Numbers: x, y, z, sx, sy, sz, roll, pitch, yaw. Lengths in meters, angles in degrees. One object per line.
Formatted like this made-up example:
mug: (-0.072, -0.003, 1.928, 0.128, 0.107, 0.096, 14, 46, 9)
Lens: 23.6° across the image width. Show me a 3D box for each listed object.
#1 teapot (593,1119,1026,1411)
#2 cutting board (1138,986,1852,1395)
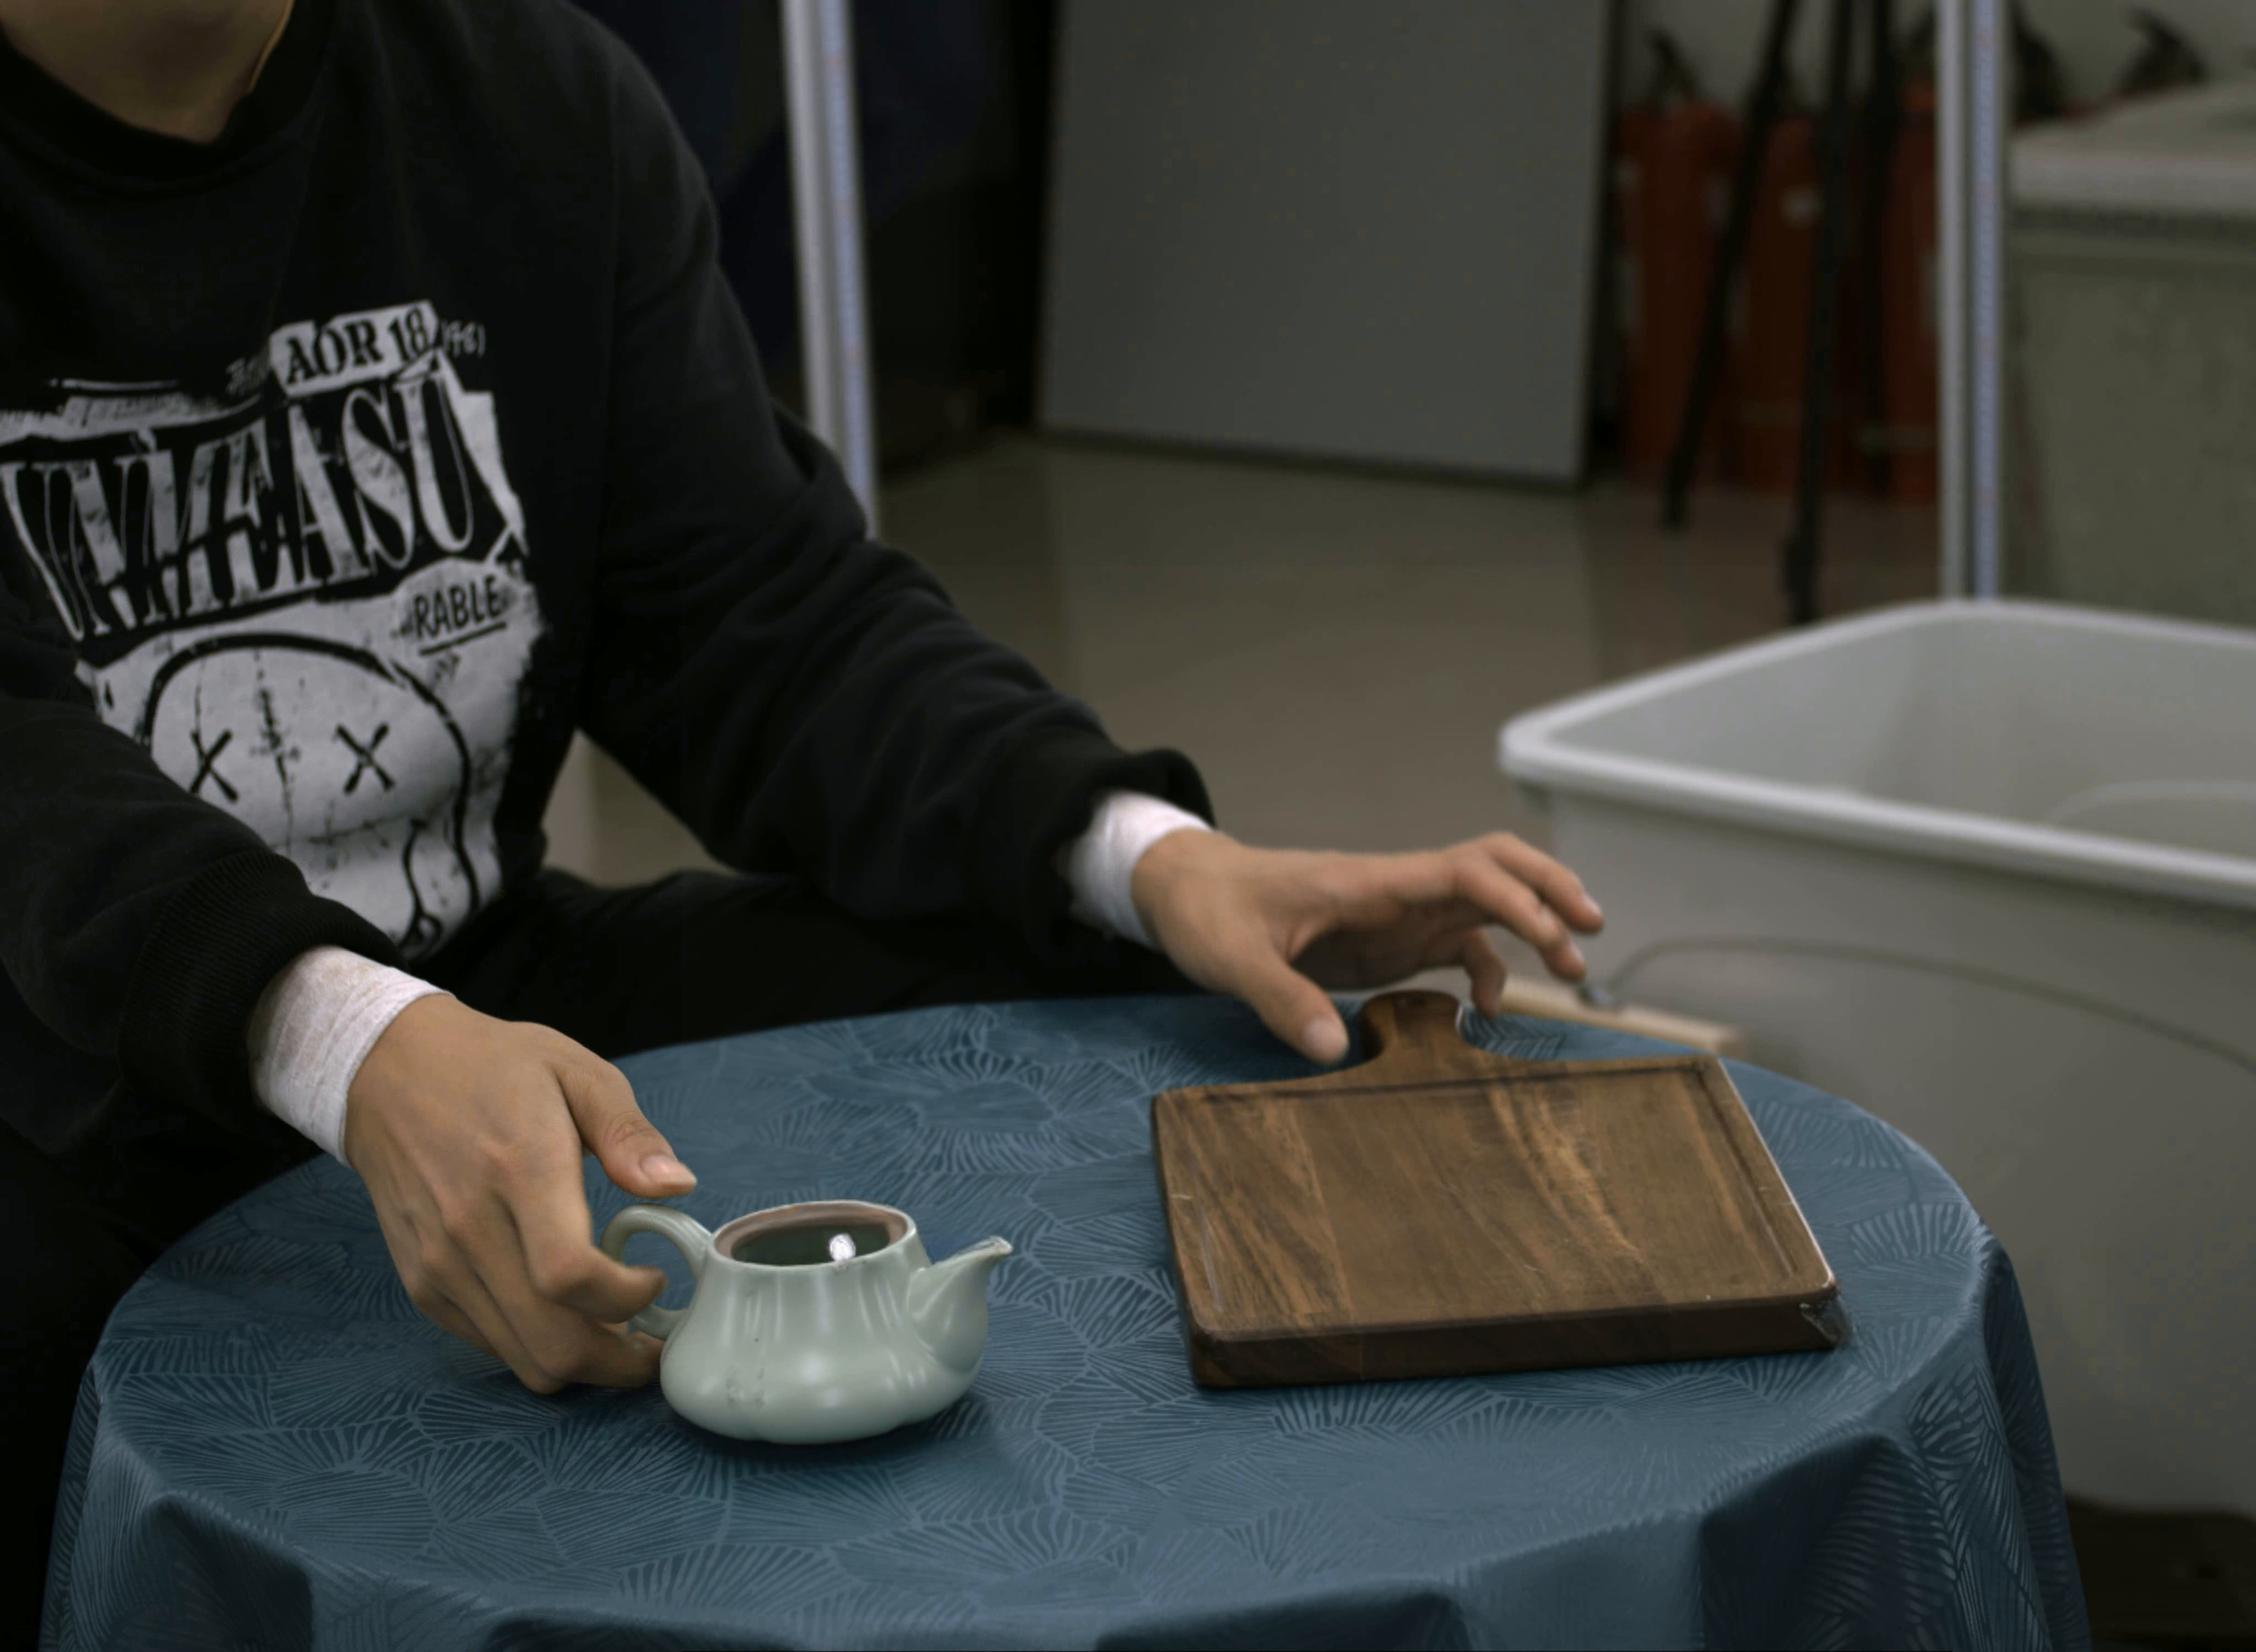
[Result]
teapot: (-0.099, 0.131, 1.573, 0.137, 0.062, 0.095, 19, -4, 22)
cutting board: (0.106, 0.109, 1.745, 0.198, 0.023, 0.353, -5, 14, -2)
